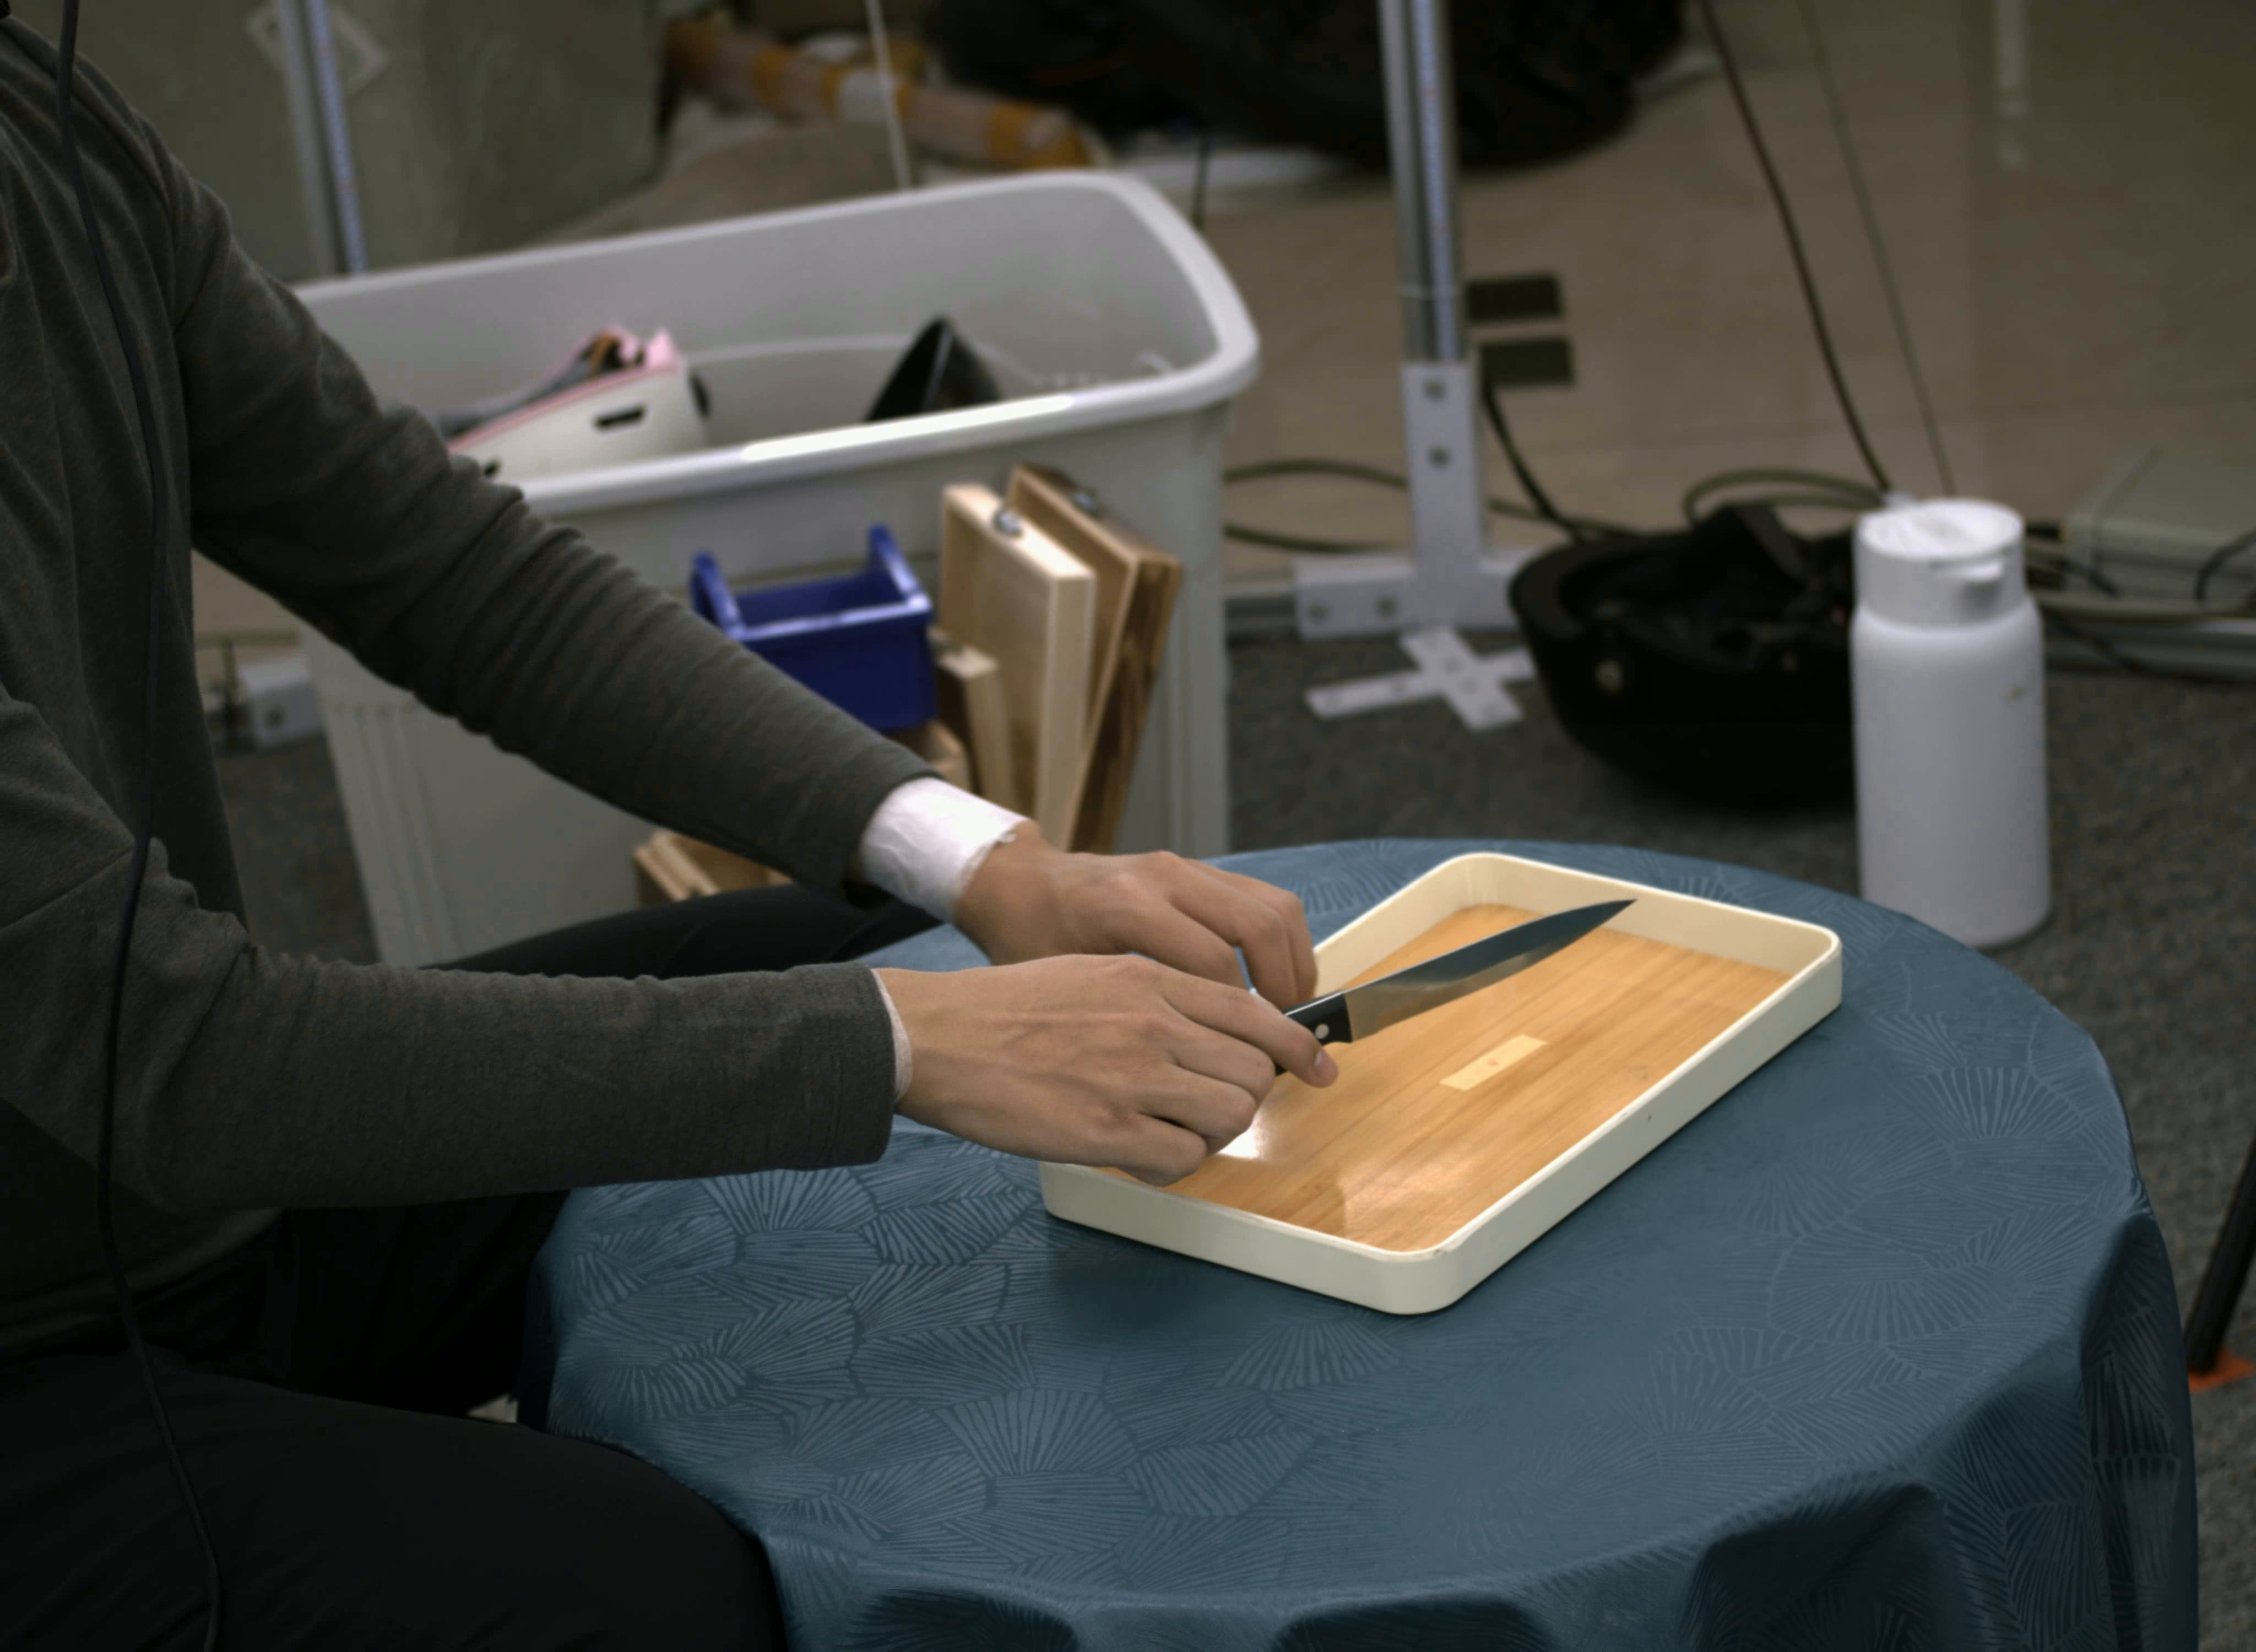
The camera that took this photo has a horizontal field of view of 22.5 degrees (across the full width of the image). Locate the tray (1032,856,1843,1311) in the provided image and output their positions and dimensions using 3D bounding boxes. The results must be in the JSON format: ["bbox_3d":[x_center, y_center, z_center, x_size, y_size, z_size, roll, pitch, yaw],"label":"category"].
[{"bbox_3d":[0.123,0.094,2.187,0.190,0.028,0.297,13,31,38],"label":"tray"}]

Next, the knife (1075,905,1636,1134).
[{"bbox_3d":[0.087,0.066,2.105,0.237,0.025,0.016,-20,34,-19],"label":"knife"}]
